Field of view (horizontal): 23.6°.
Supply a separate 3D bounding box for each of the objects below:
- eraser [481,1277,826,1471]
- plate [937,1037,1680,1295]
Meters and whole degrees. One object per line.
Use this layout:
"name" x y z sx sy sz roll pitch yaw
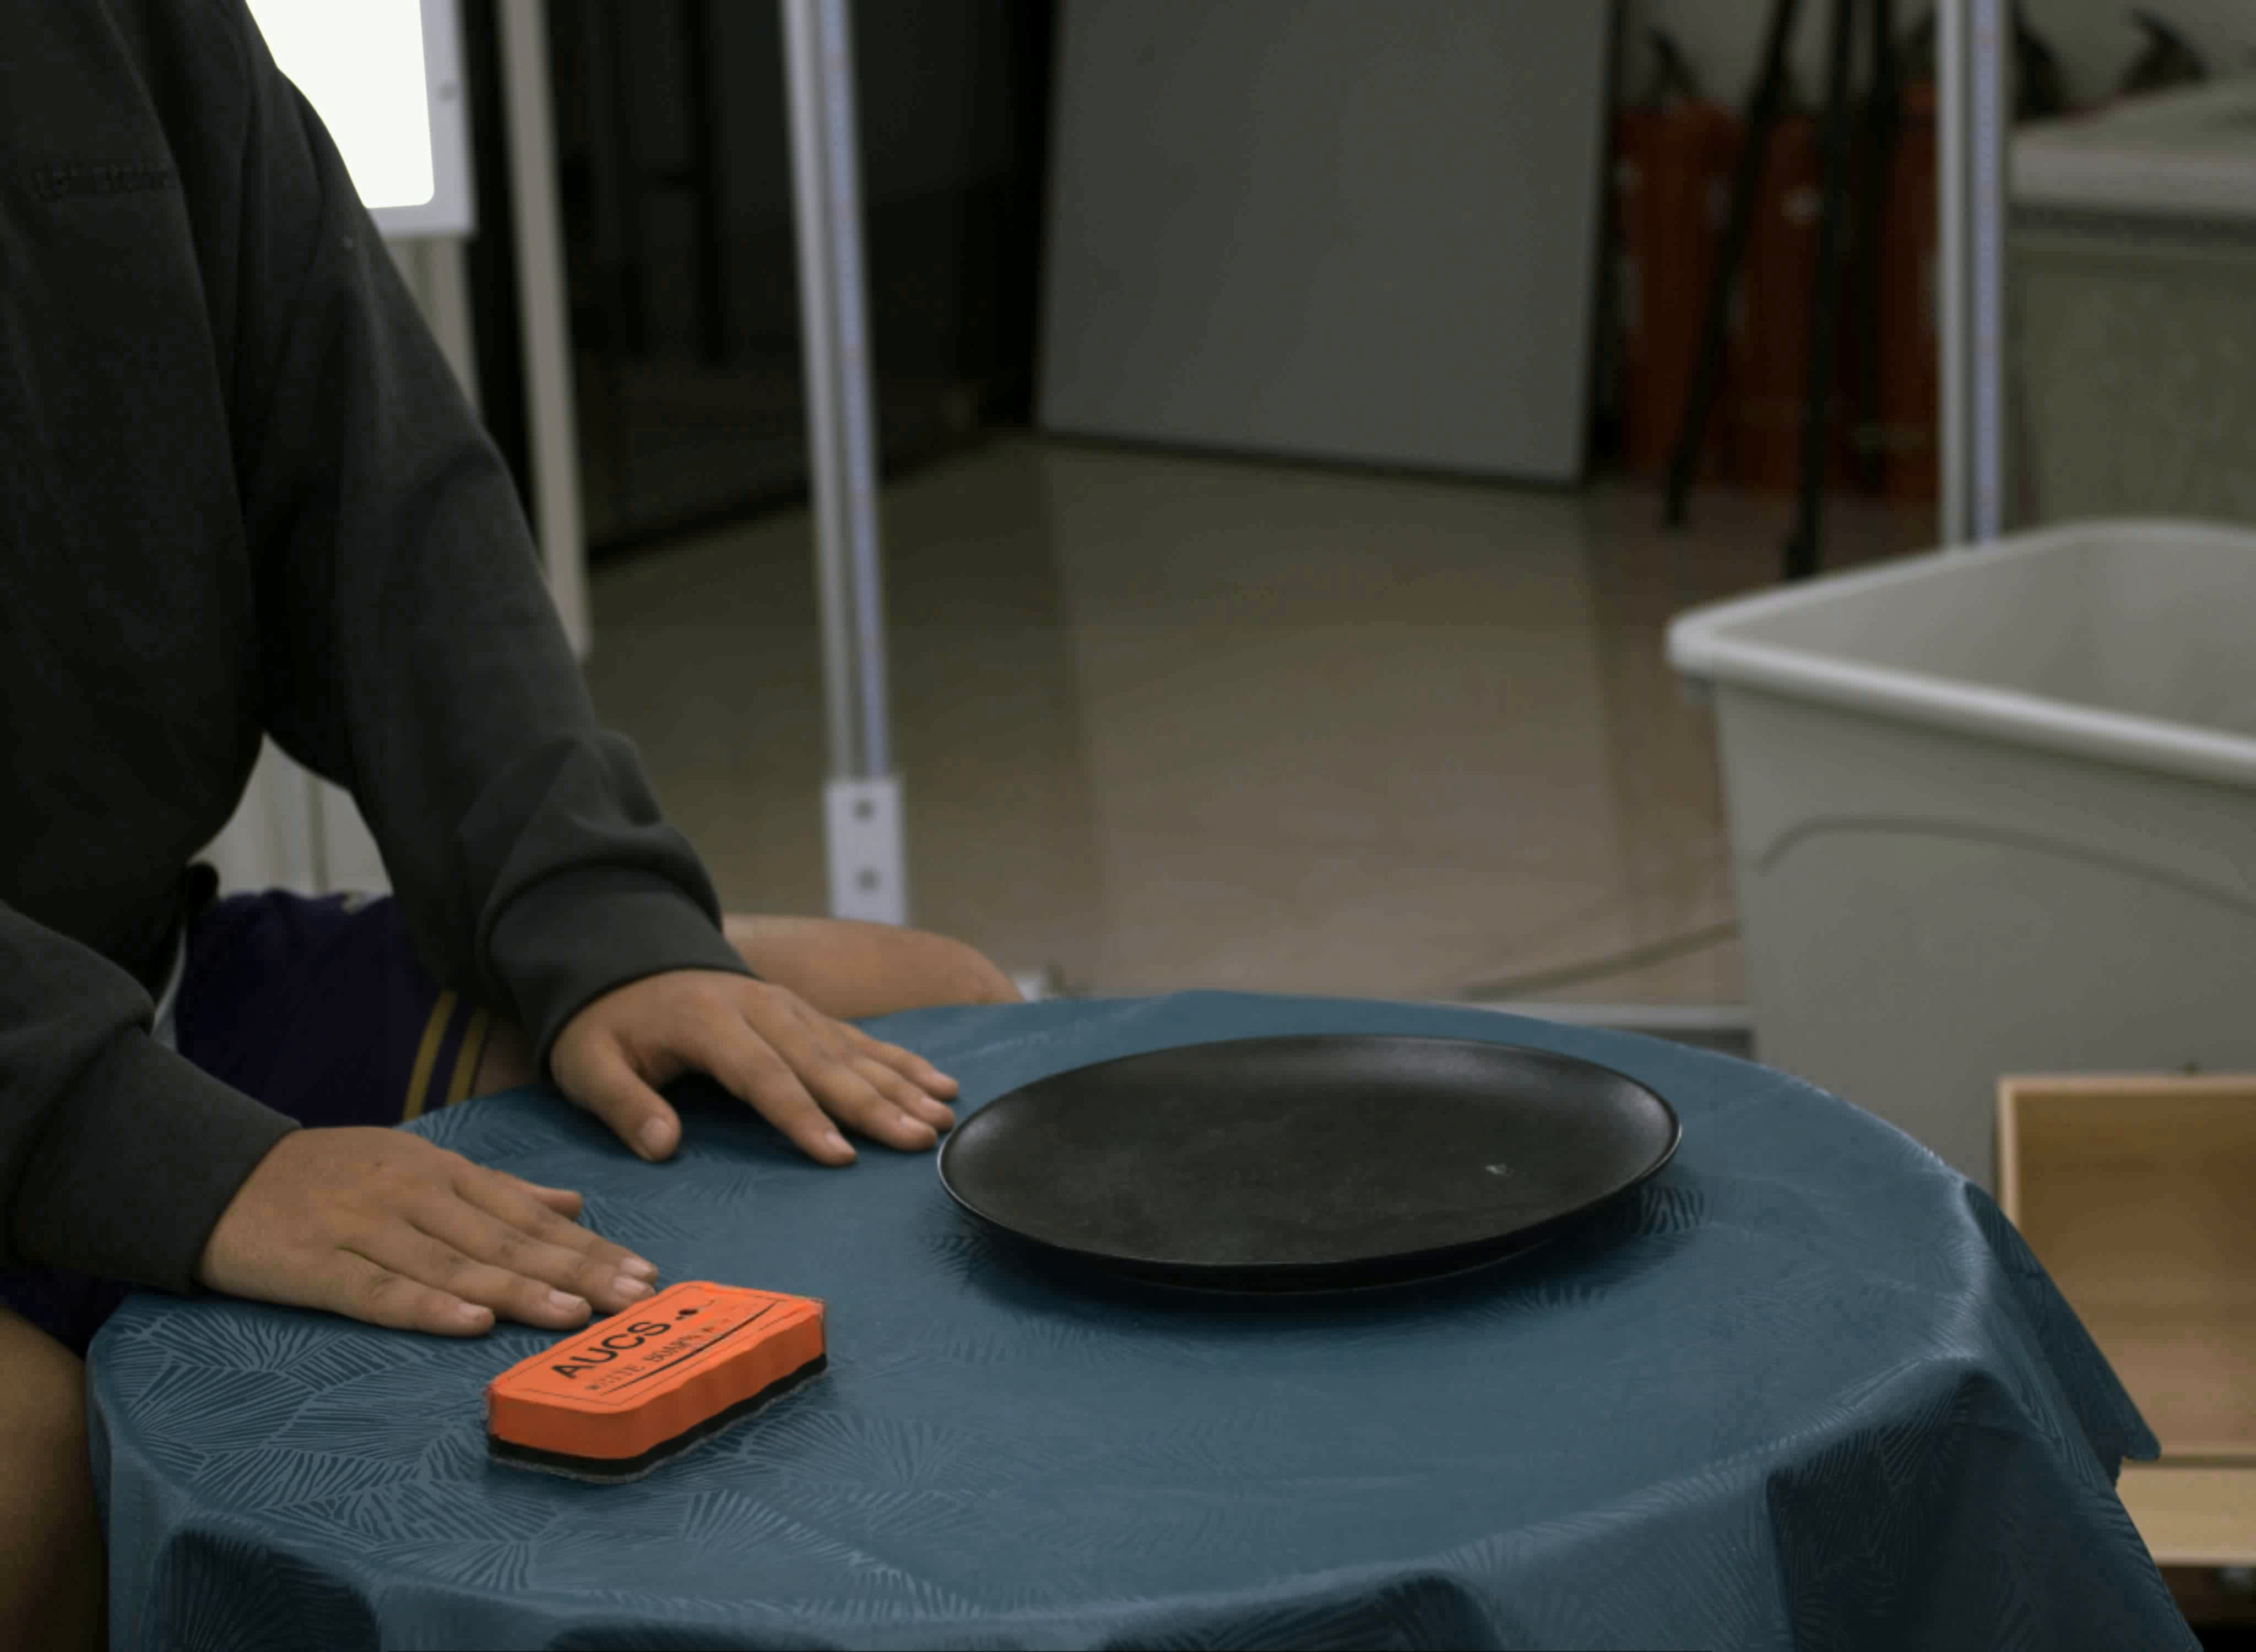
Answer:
"eraser" -0.138 0.160 1.587 0.059 0.023 0.106 6 15 32
"plate" 0.059 0.112 1.741 0.241 0.024 0.245 -4 14 0
